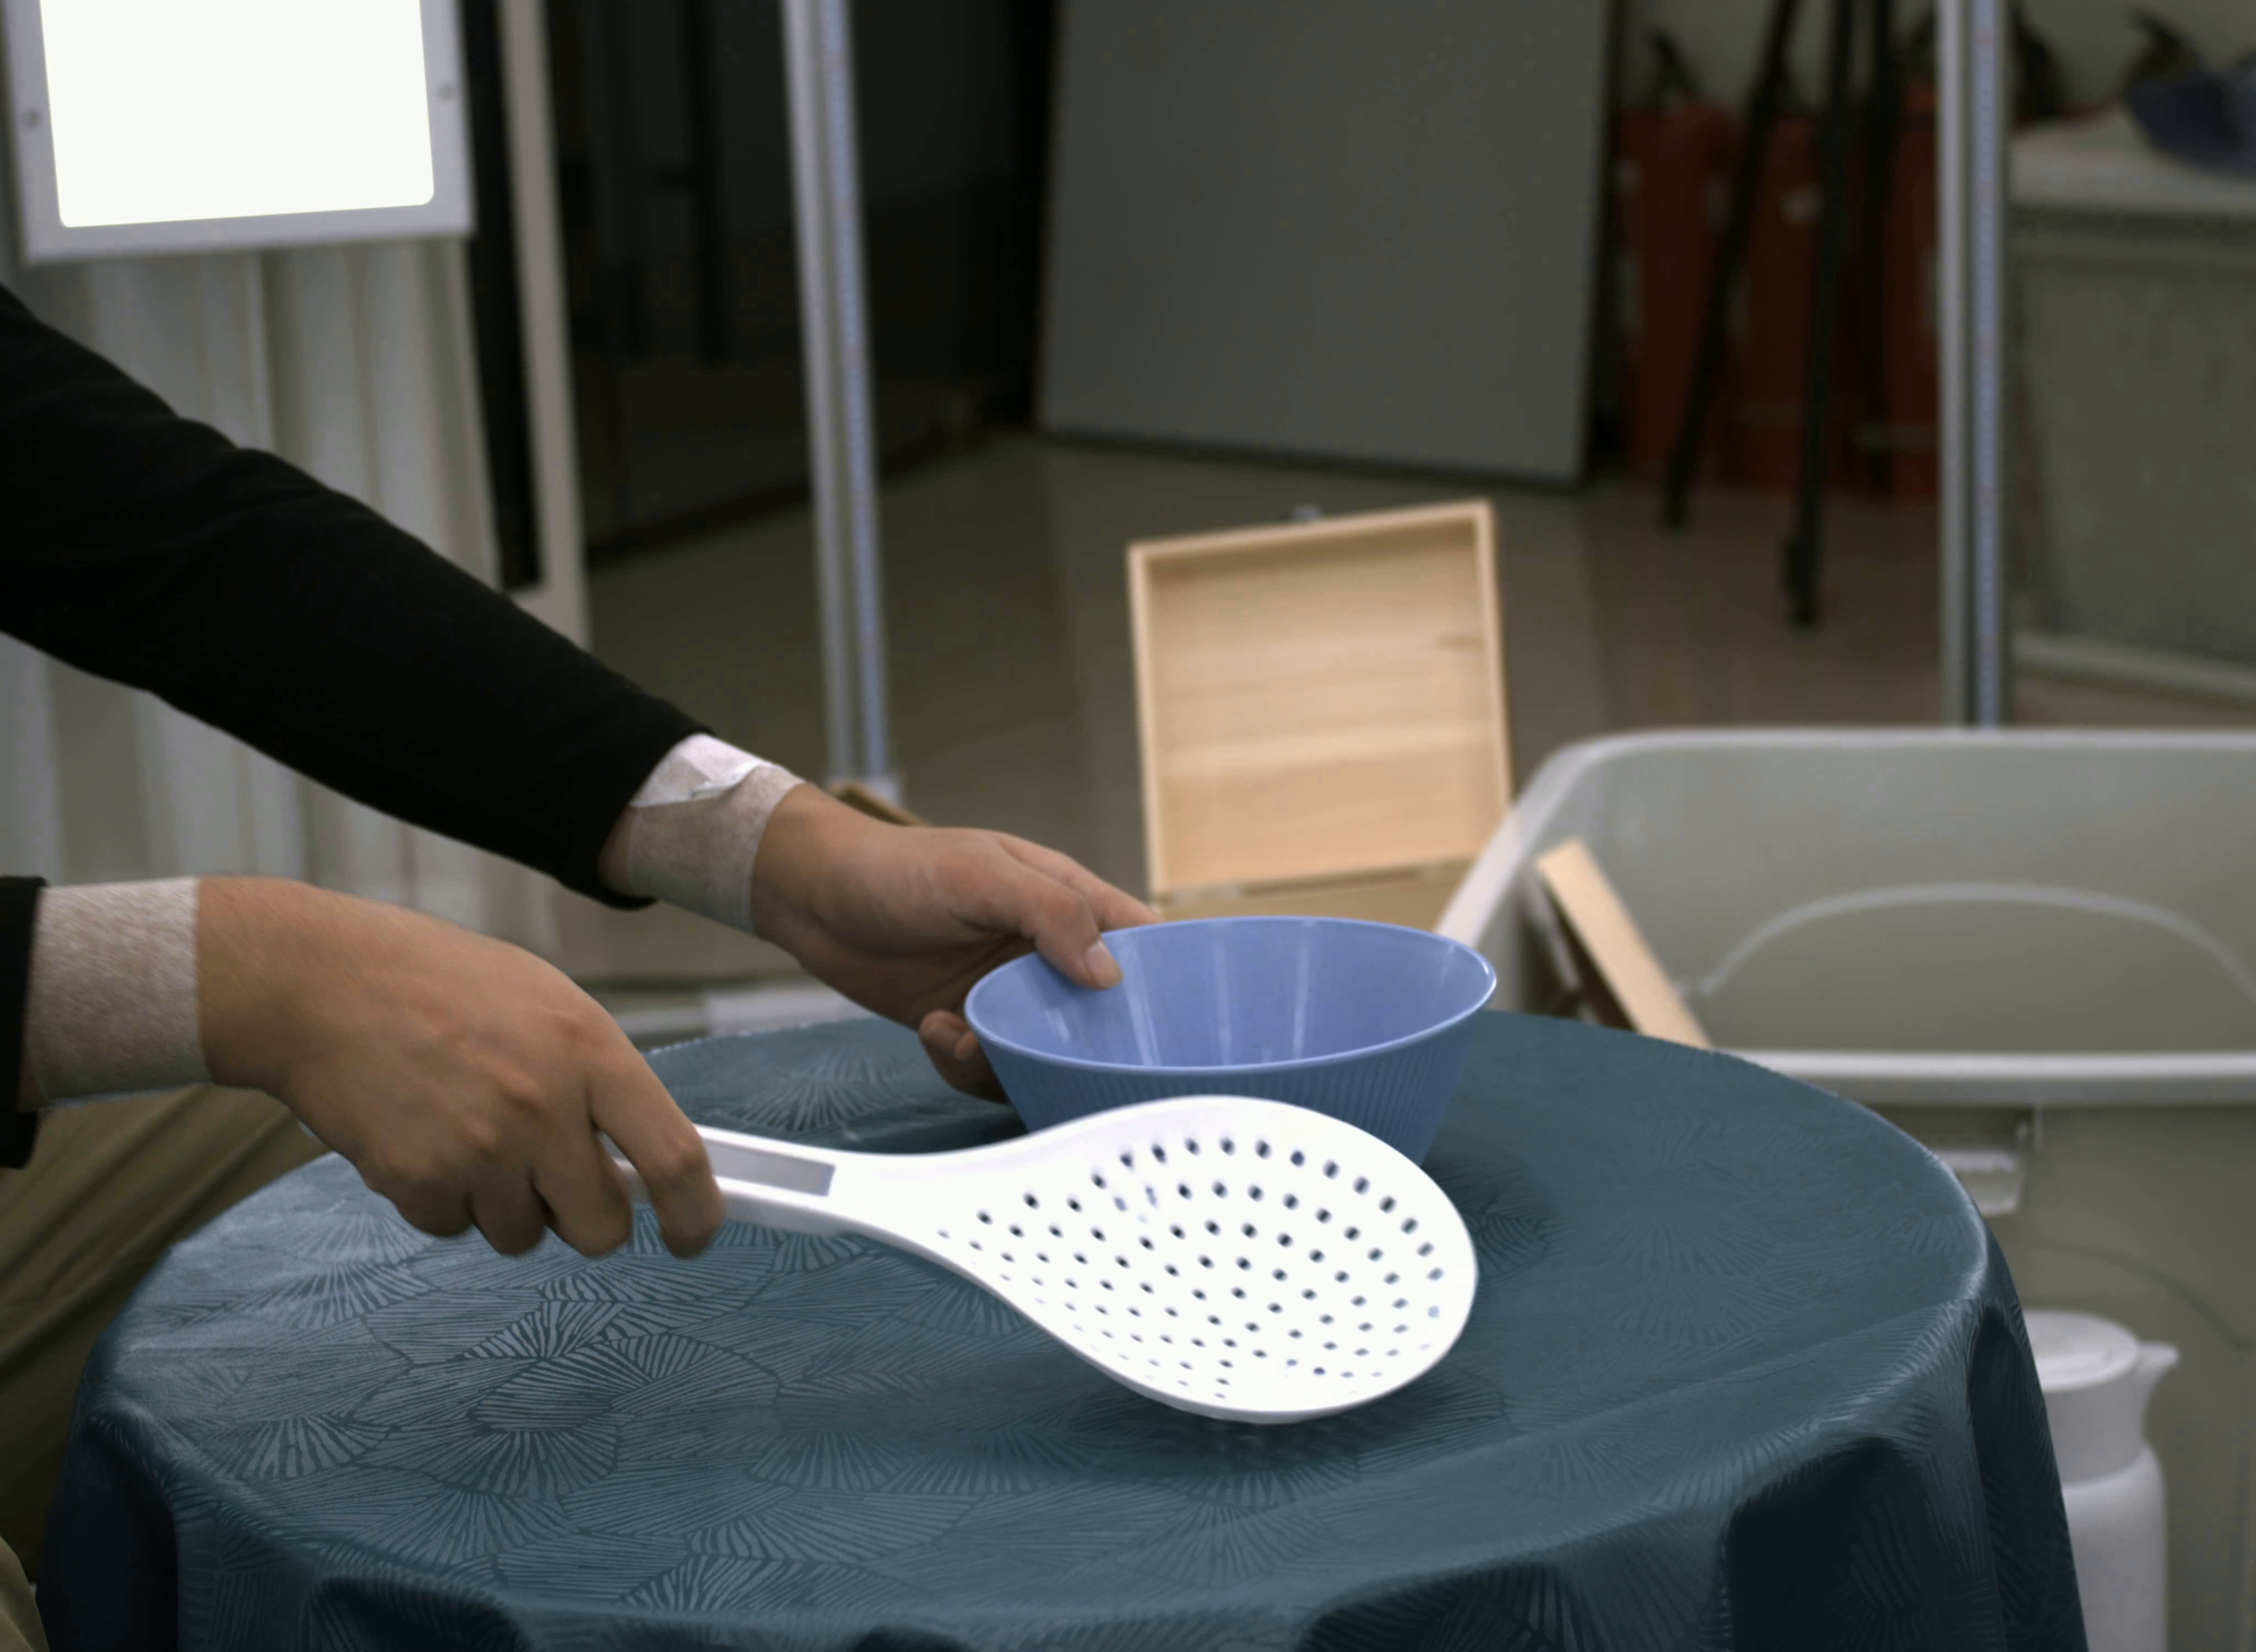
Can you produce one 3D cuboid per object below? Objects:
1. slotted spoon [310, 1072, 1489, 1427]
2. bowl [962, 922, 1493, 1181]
[{"bbox_3d":[-0.068,0.112,1.576,0.346,0.046,0.136,13,37,2],"label":"slotted spoon"},{"bbox_3d":[0.035,0.083,1.763,0.174,0.071,0.176,-5,13,0],"label":"bowl"}]
